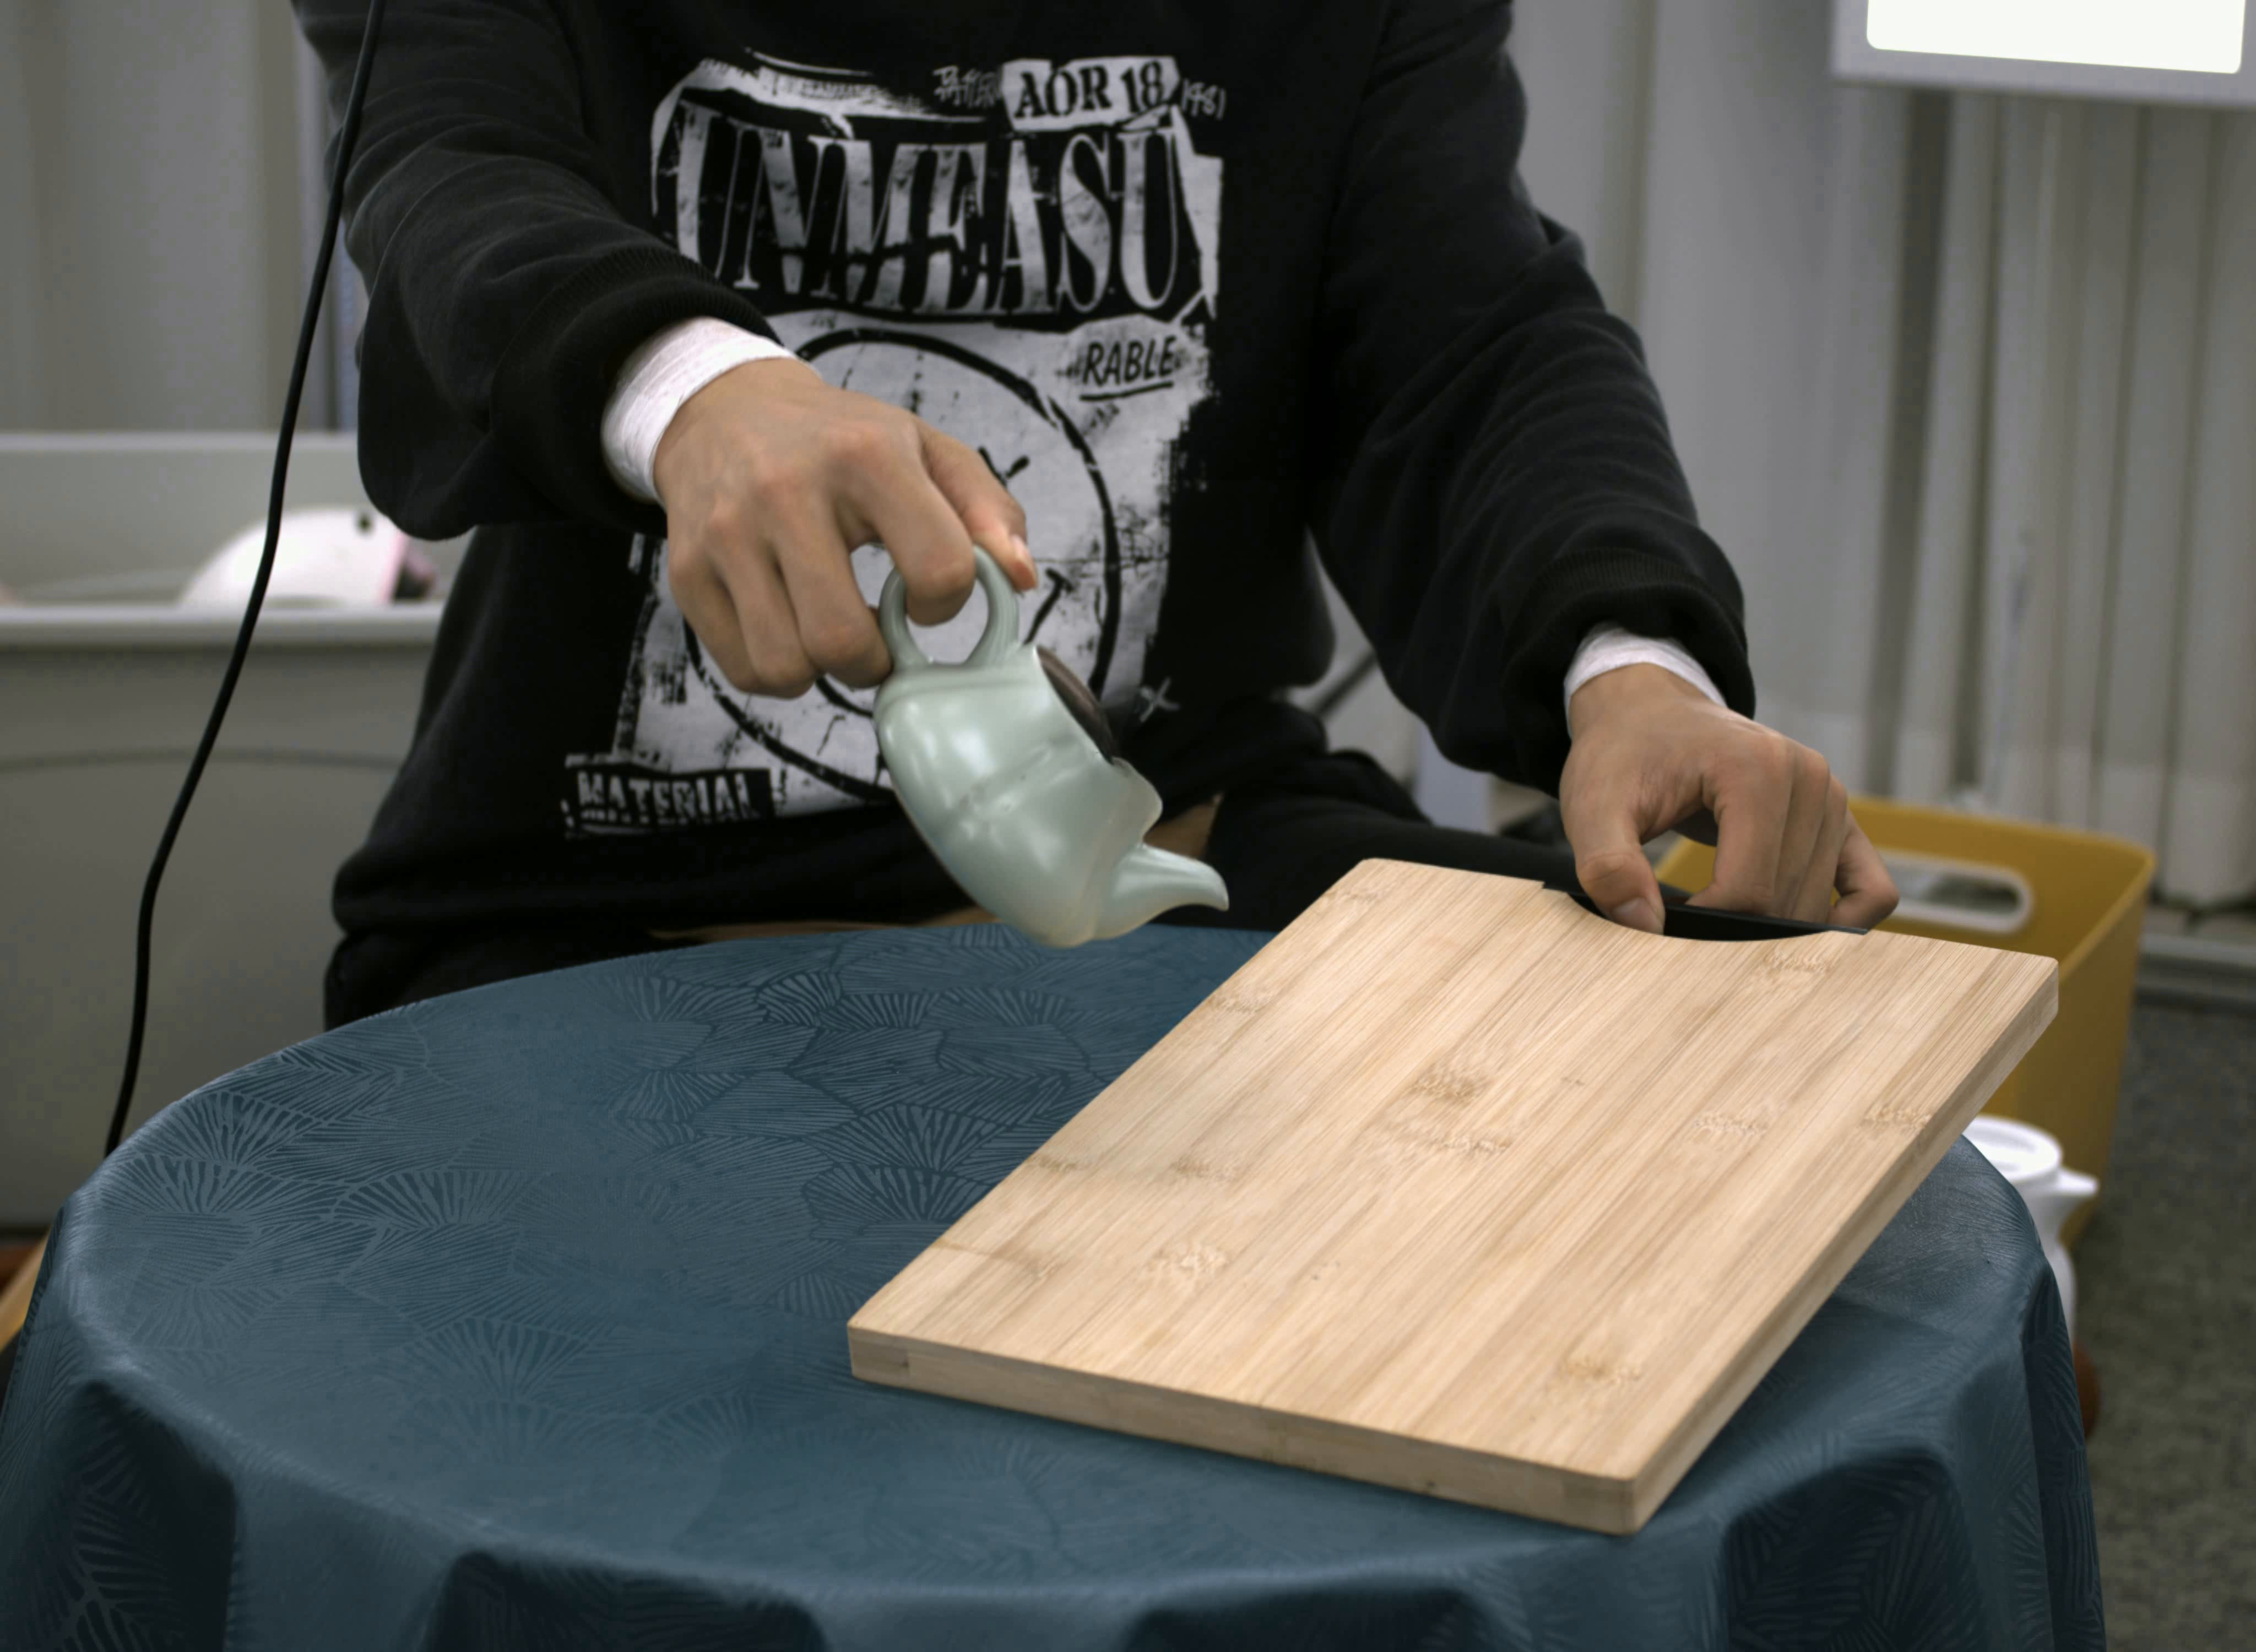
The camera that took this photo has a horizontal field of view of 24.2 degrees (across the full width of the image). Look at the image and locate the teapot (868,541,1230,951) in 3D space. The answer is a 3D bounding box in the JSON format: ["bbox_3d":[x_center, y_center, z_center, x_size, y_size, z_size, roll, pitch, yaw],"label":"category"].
[{"bbox_3d":[-0.033,-0.016,1.514,0.061,0.137,0.096,-36,4,10],"label":"teapot"}]

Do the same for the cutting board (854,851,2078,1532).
[{"bbox_3d":[0.108,0.096,1.554,0.248,0.024,0.348,8,26,26],"label":"cutting board"}]
